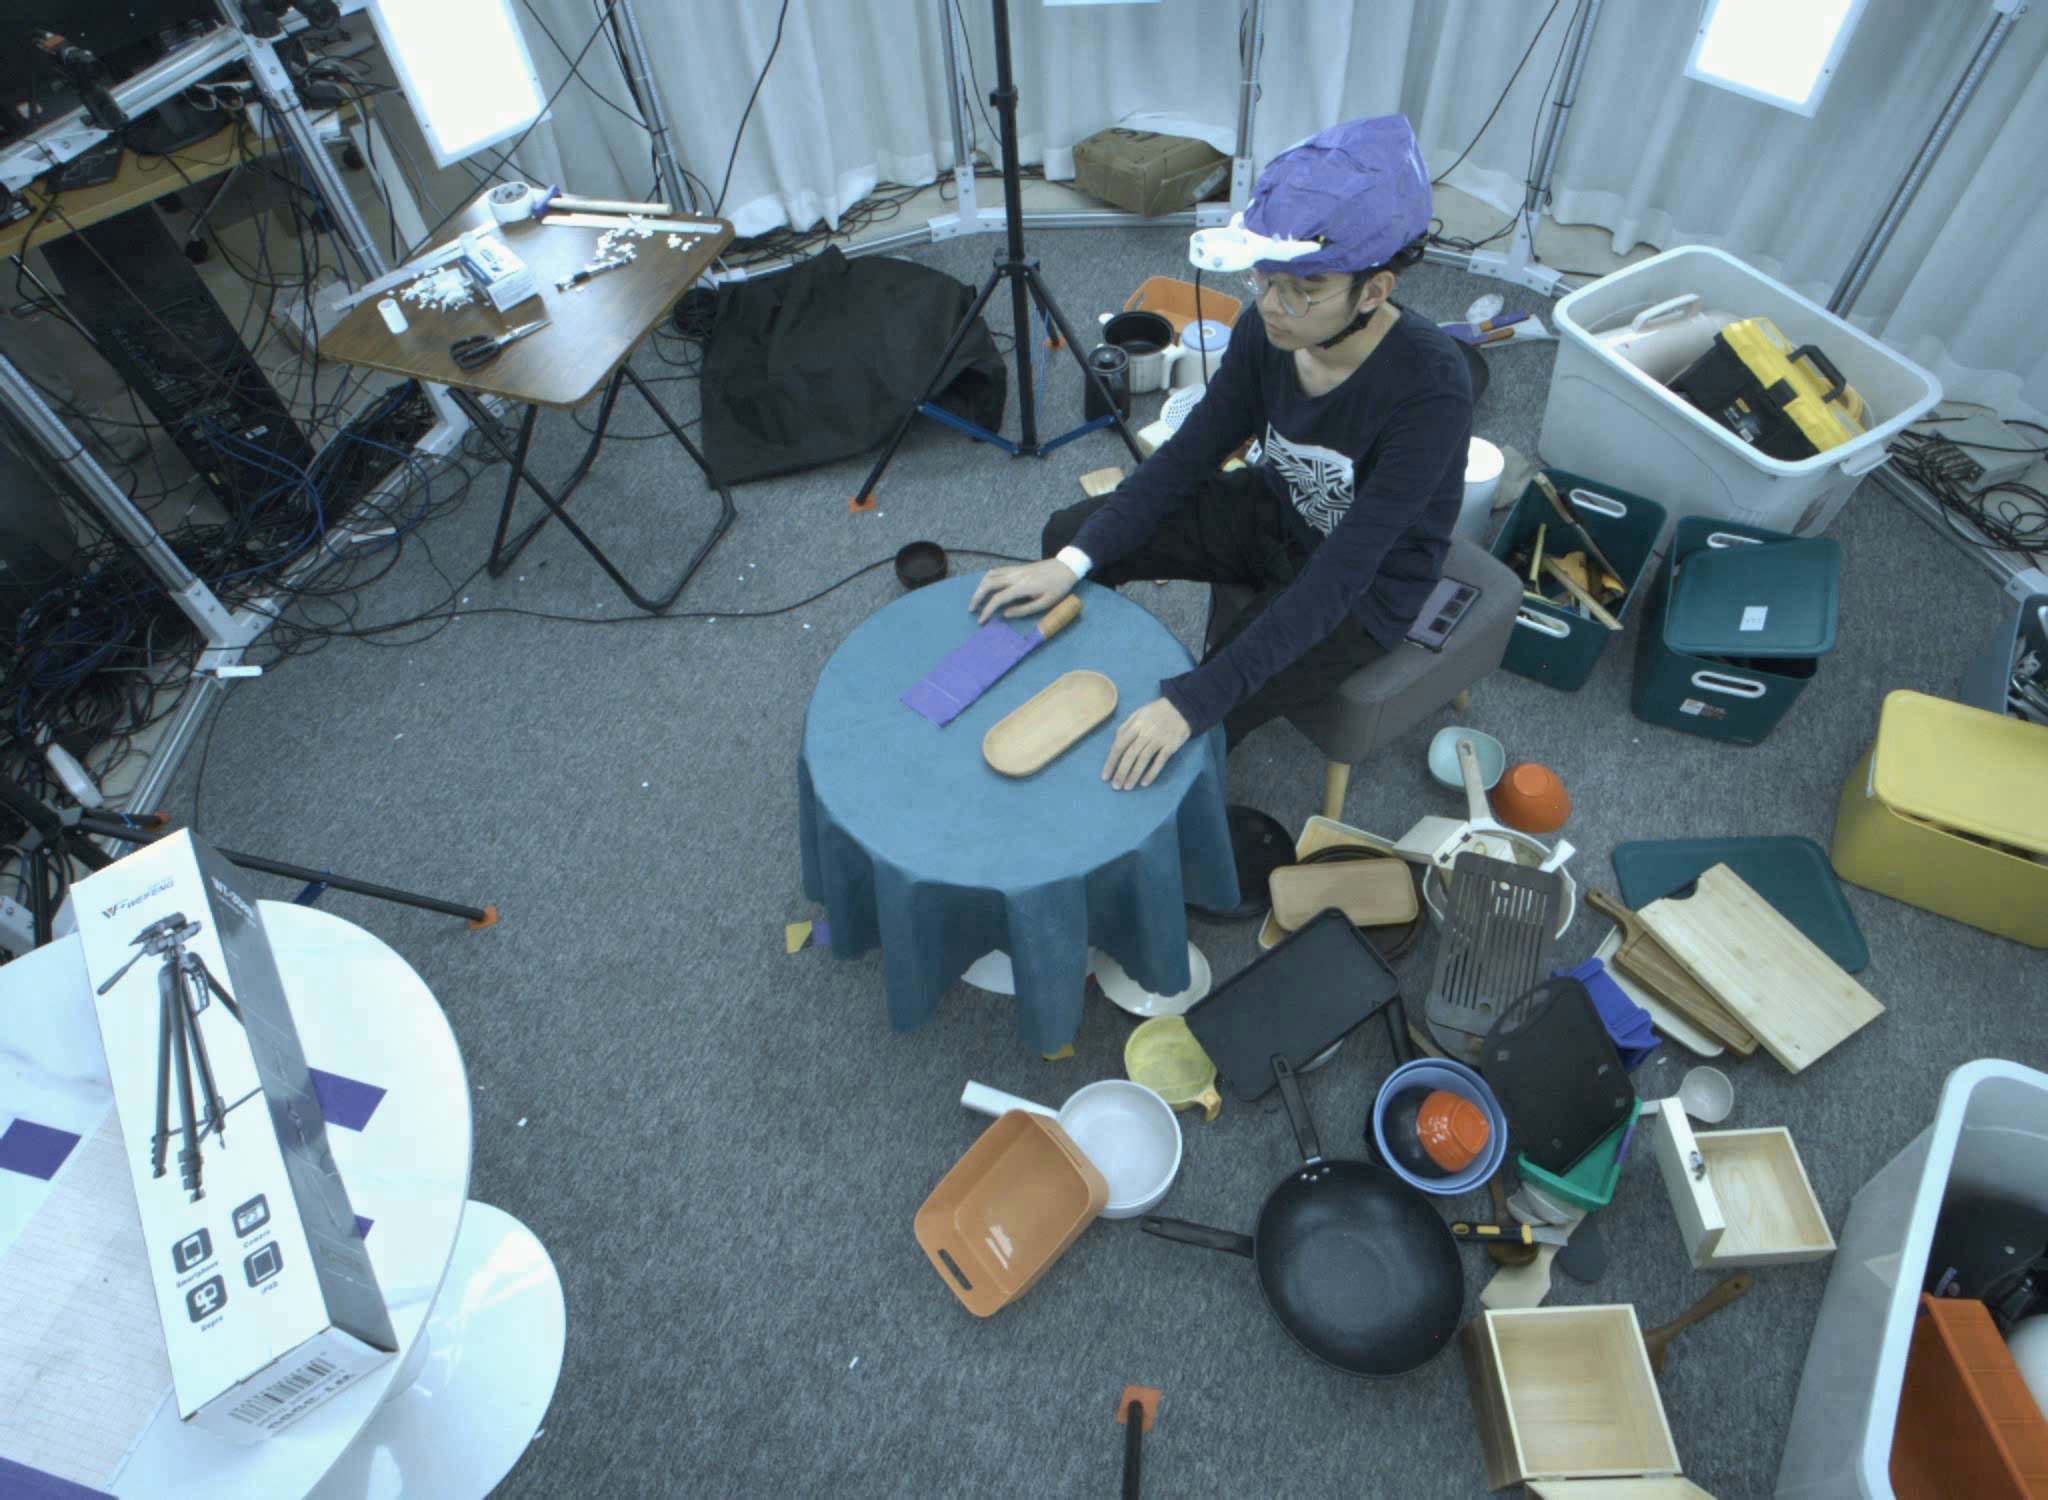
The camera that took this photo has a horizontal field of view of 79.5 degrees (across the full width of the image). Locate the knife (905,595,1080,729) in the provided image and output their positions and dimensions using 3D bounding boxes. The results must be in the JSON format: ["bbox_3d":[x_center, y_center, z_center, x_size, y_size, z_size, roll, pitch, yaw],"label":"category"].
[{"bbox_3d":[-0.050,-0.154,1.890,0.102,0.032,0.317,36,63,24],"label":"knife"}]

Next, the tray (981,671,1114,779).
[{"bbox_3d":[0.036,-0.038,1.812,0.233,0.020,0.100,-39,61,-22],"label":"tray"}]
